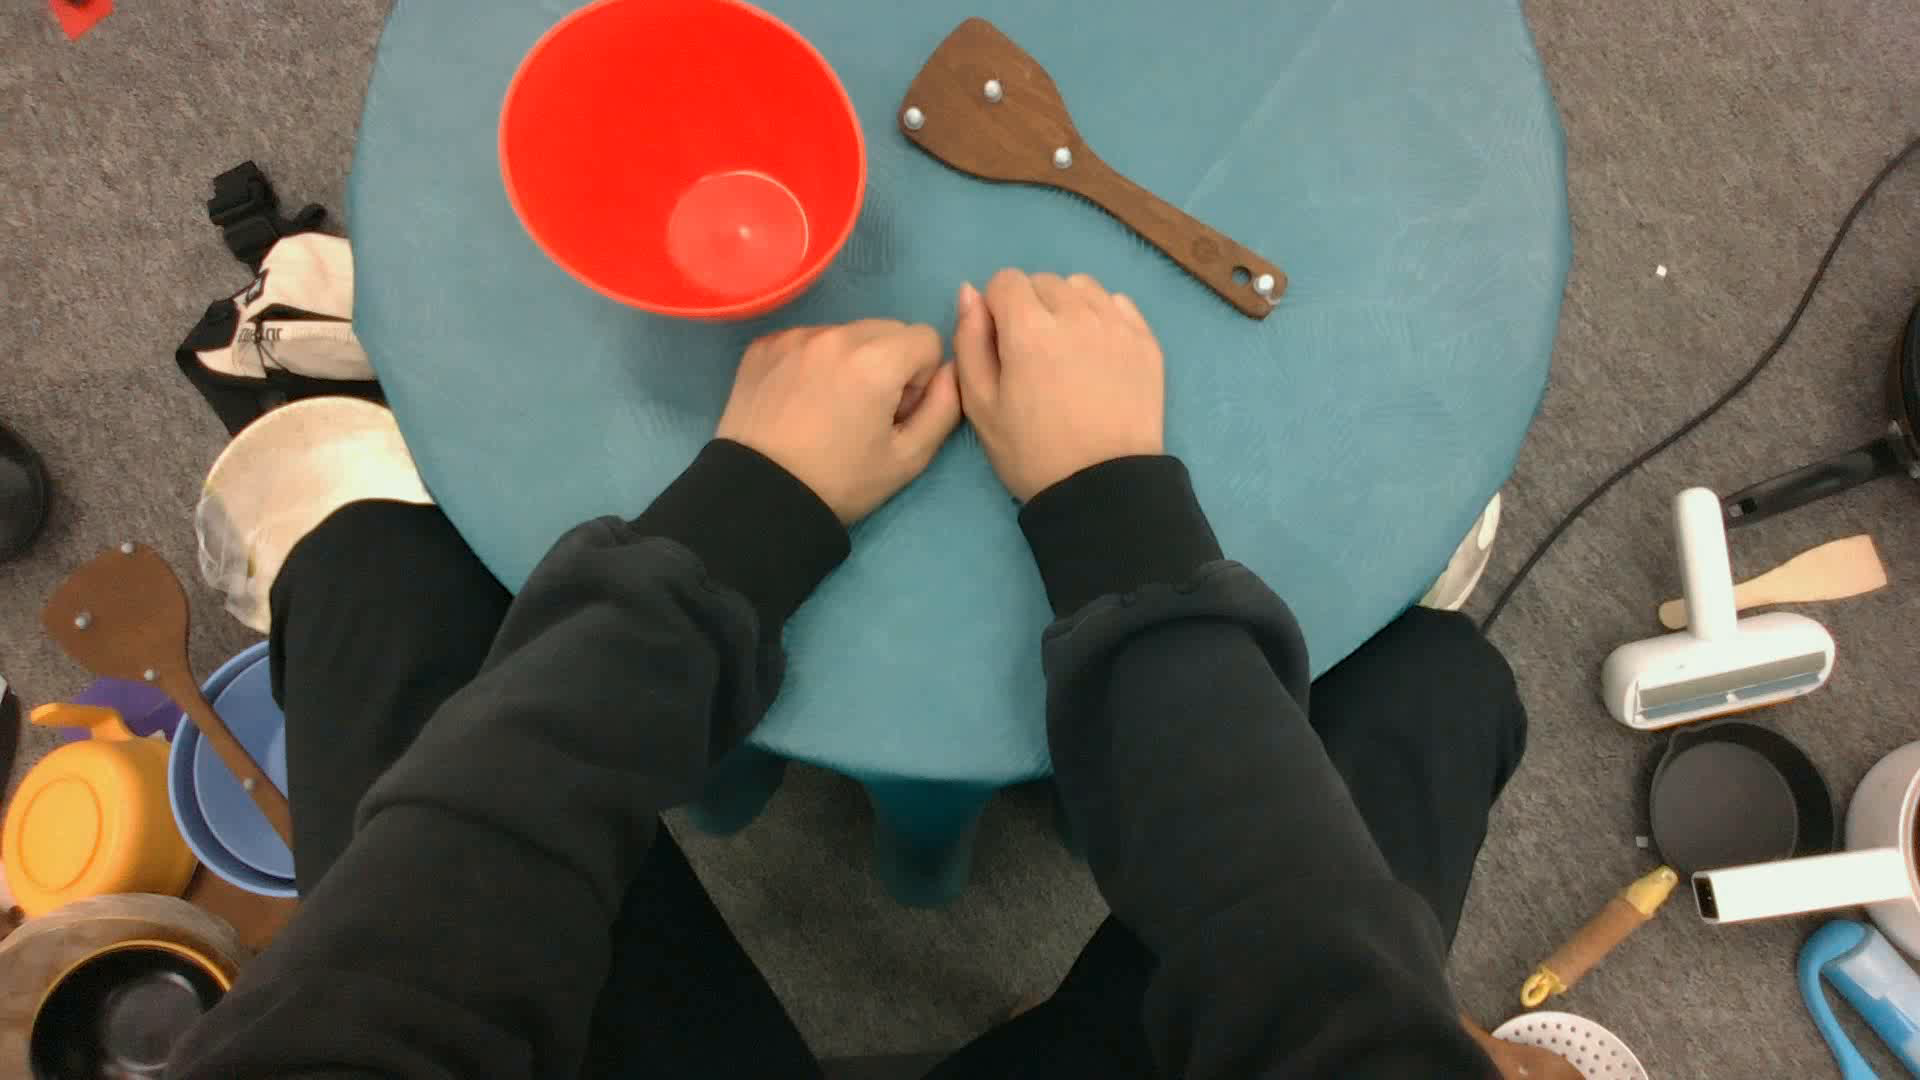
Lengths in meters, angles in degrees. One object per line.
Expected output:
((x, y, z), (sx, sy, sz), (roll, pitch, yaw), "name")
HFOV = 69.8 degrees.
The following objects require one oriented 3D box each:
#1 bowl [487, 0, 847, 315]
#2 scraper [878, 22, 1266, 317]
((-0.124, -0.159, 0.624), (0.148, 0.104, 0.148), (1, 77, -2), "bowl")
((0.060, -0.177, 0.685), (0.211, 0.011, 0.076), (35, 79, 4), "scraper")
